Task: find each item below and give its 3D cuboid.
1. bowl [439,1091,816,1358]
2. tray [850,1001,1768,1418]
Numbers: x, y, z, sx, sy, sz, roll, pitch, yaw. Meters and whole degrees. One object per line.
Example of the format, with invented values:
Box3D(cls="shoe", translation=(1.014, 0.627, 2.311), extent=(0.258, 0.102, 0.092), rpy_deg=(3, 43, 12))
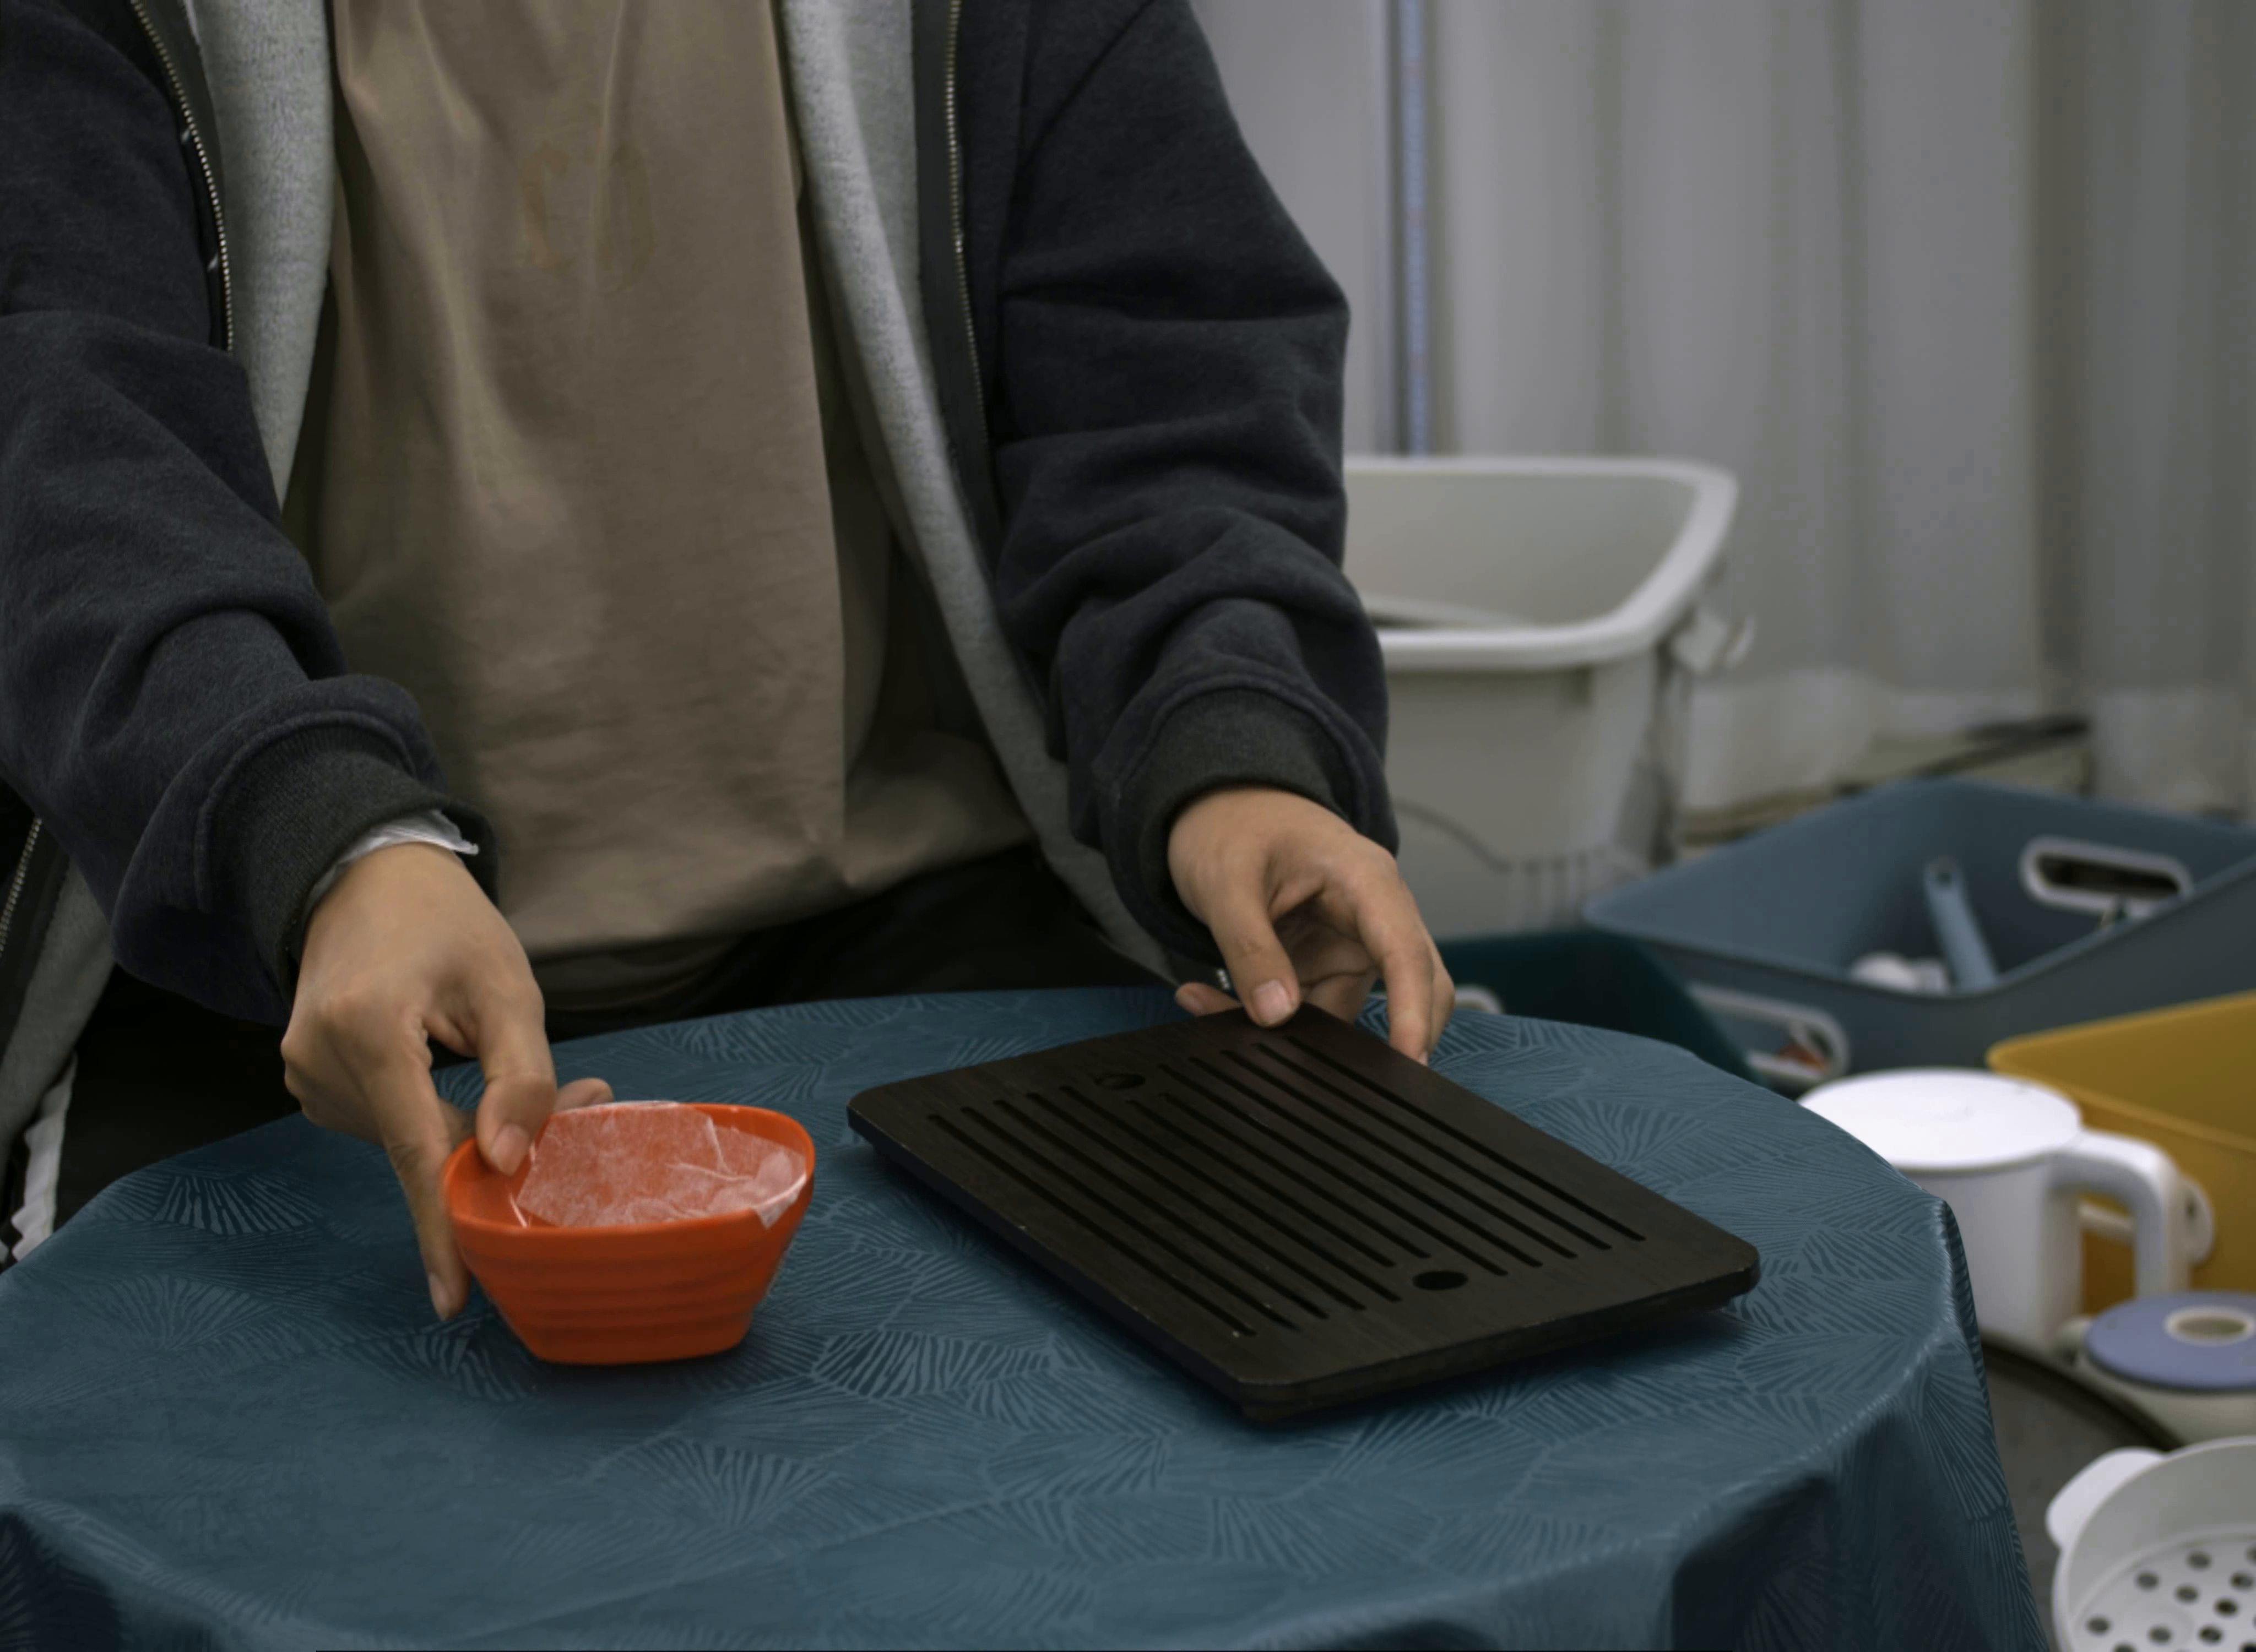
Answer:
Box3D(cls="bowl", translation=(-0.144, 0.119, 1.601), extent=(0.118, 0.051, 0.120), rpy_deg=(-3, 16, 1))
Box3D(cls="tray", translation=(0.048, 0.113, 1.666), extent=(0.169, 0.018, 0.308), rpy_deg=(-12, 17, -23))
